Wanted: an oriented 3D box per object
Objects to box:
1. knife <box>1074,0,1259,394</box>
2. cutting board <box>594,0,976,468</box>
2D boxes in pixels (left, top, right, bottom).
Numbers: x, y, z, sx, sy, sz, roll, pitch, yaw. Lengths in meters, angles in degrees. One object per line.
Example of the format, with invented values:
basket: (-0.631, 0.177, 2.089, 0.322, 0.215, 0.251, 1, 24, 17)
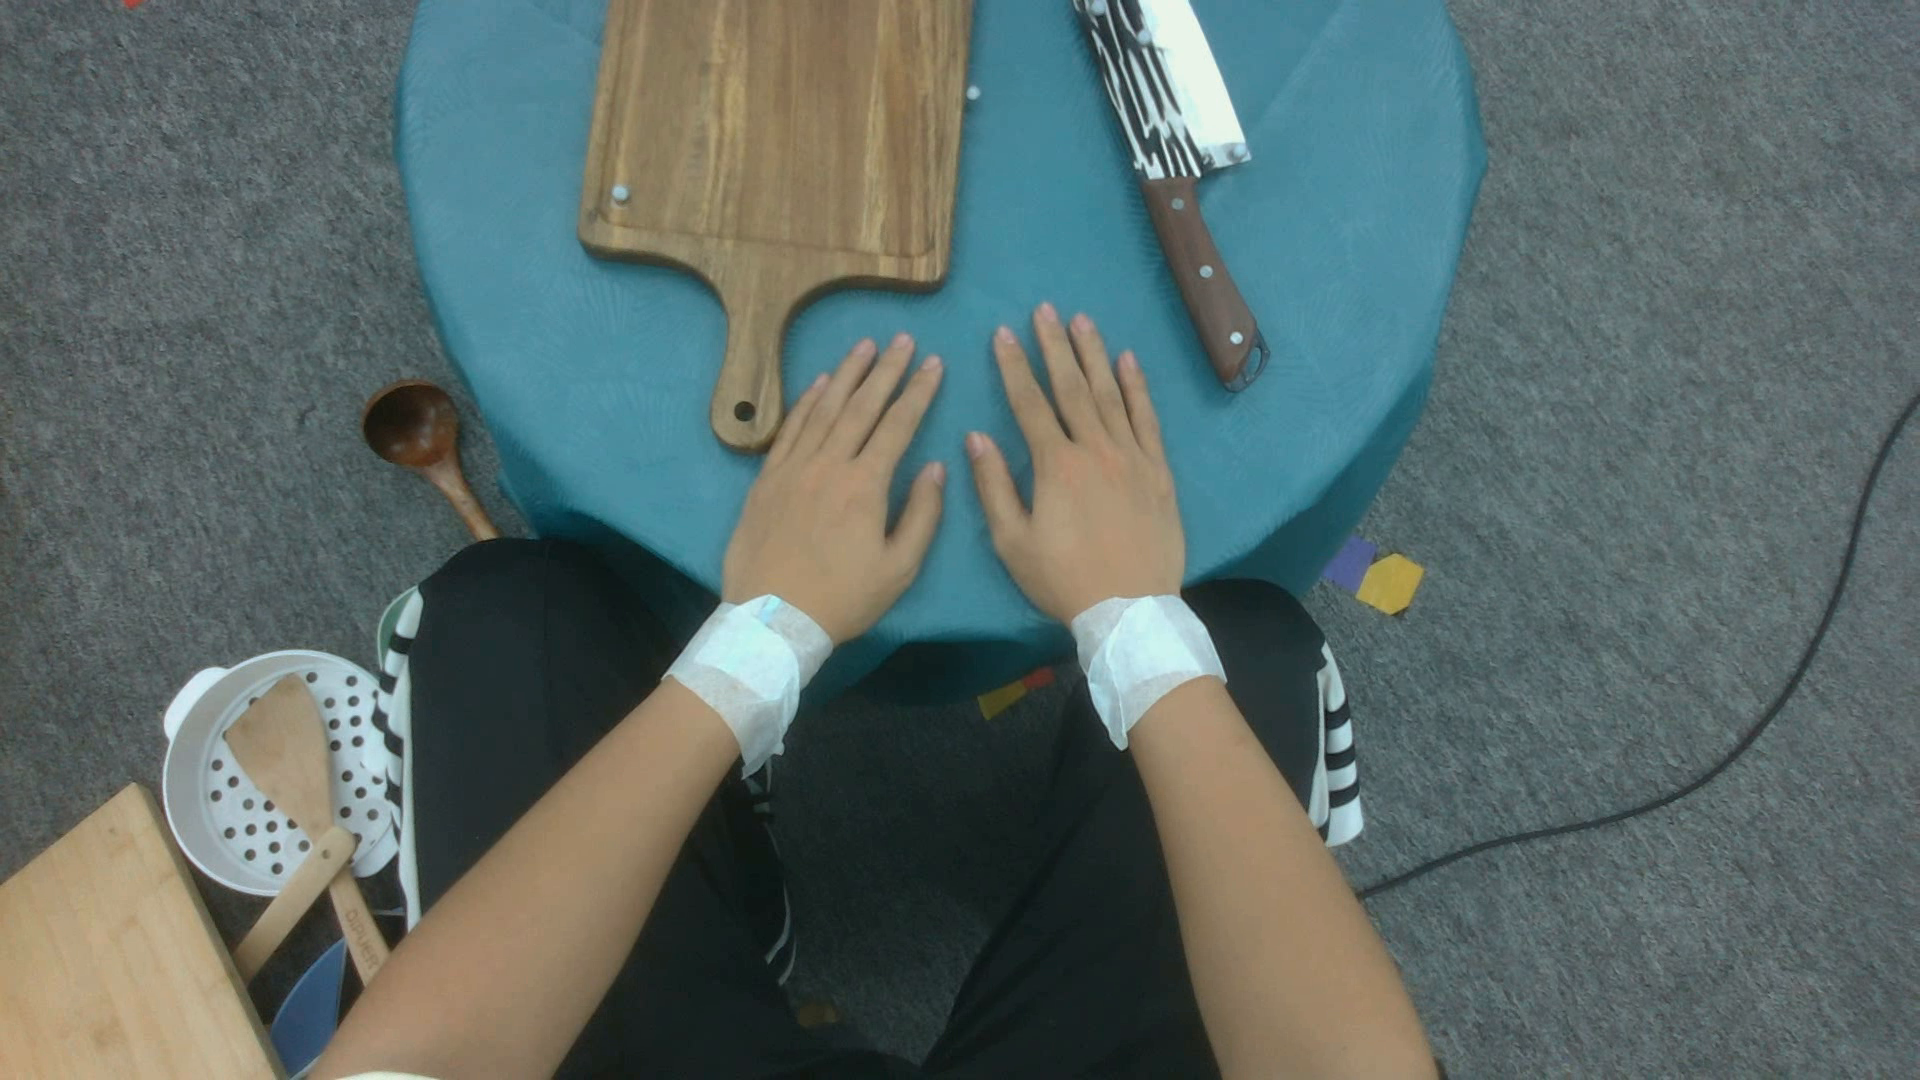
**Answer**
knife: (0.125, -0.225, 0.782, 0.068, 0.024, 0.300, -15, 76, -8)
cutting board: (-0.096, -0.213, 0.766, 0.201, 0.023, 0.353, 4, 78, -2)
